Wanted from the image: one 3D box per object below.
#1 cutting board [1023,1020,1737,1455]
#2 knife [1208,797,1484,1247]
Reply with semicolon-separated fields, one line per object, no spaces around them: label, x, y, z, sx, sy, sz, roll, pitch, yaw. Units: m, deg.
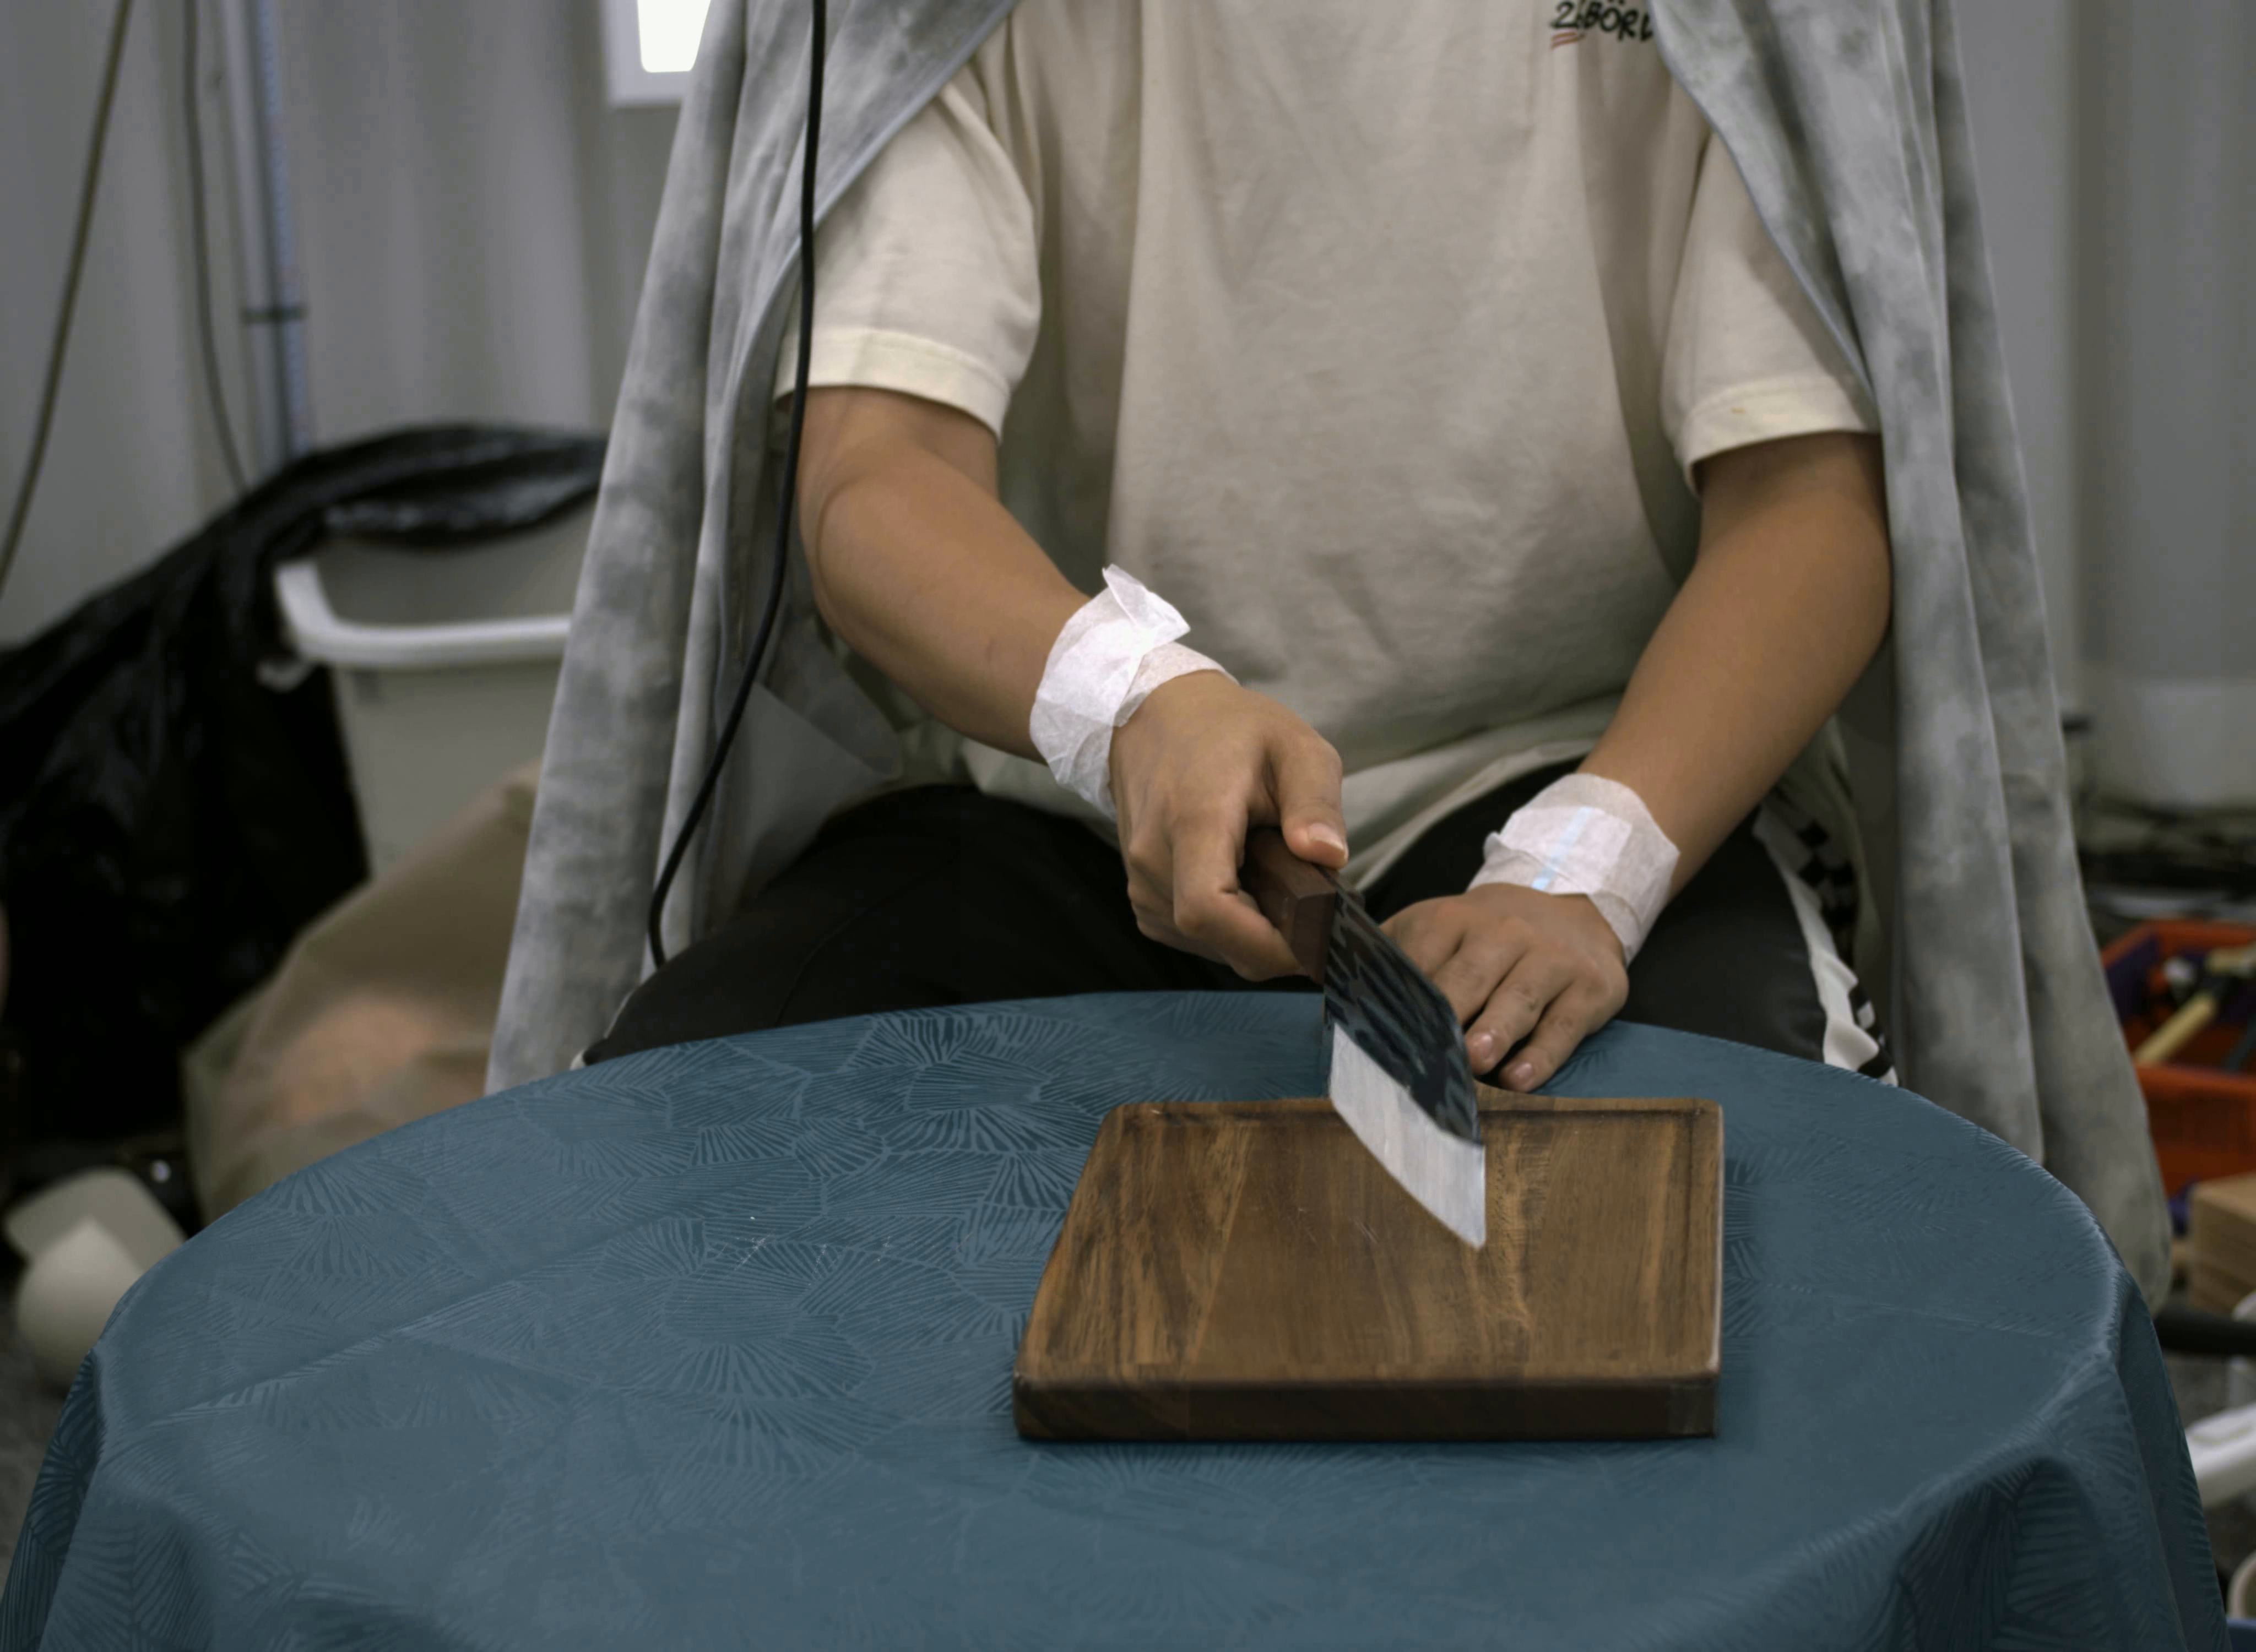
cutting board;0.083;0.117;1.664;0.200;0.023;0.354;-3;14;6
knife;0.069;0.057;1.693;0.024;0.068;0.302;0;16;-14
